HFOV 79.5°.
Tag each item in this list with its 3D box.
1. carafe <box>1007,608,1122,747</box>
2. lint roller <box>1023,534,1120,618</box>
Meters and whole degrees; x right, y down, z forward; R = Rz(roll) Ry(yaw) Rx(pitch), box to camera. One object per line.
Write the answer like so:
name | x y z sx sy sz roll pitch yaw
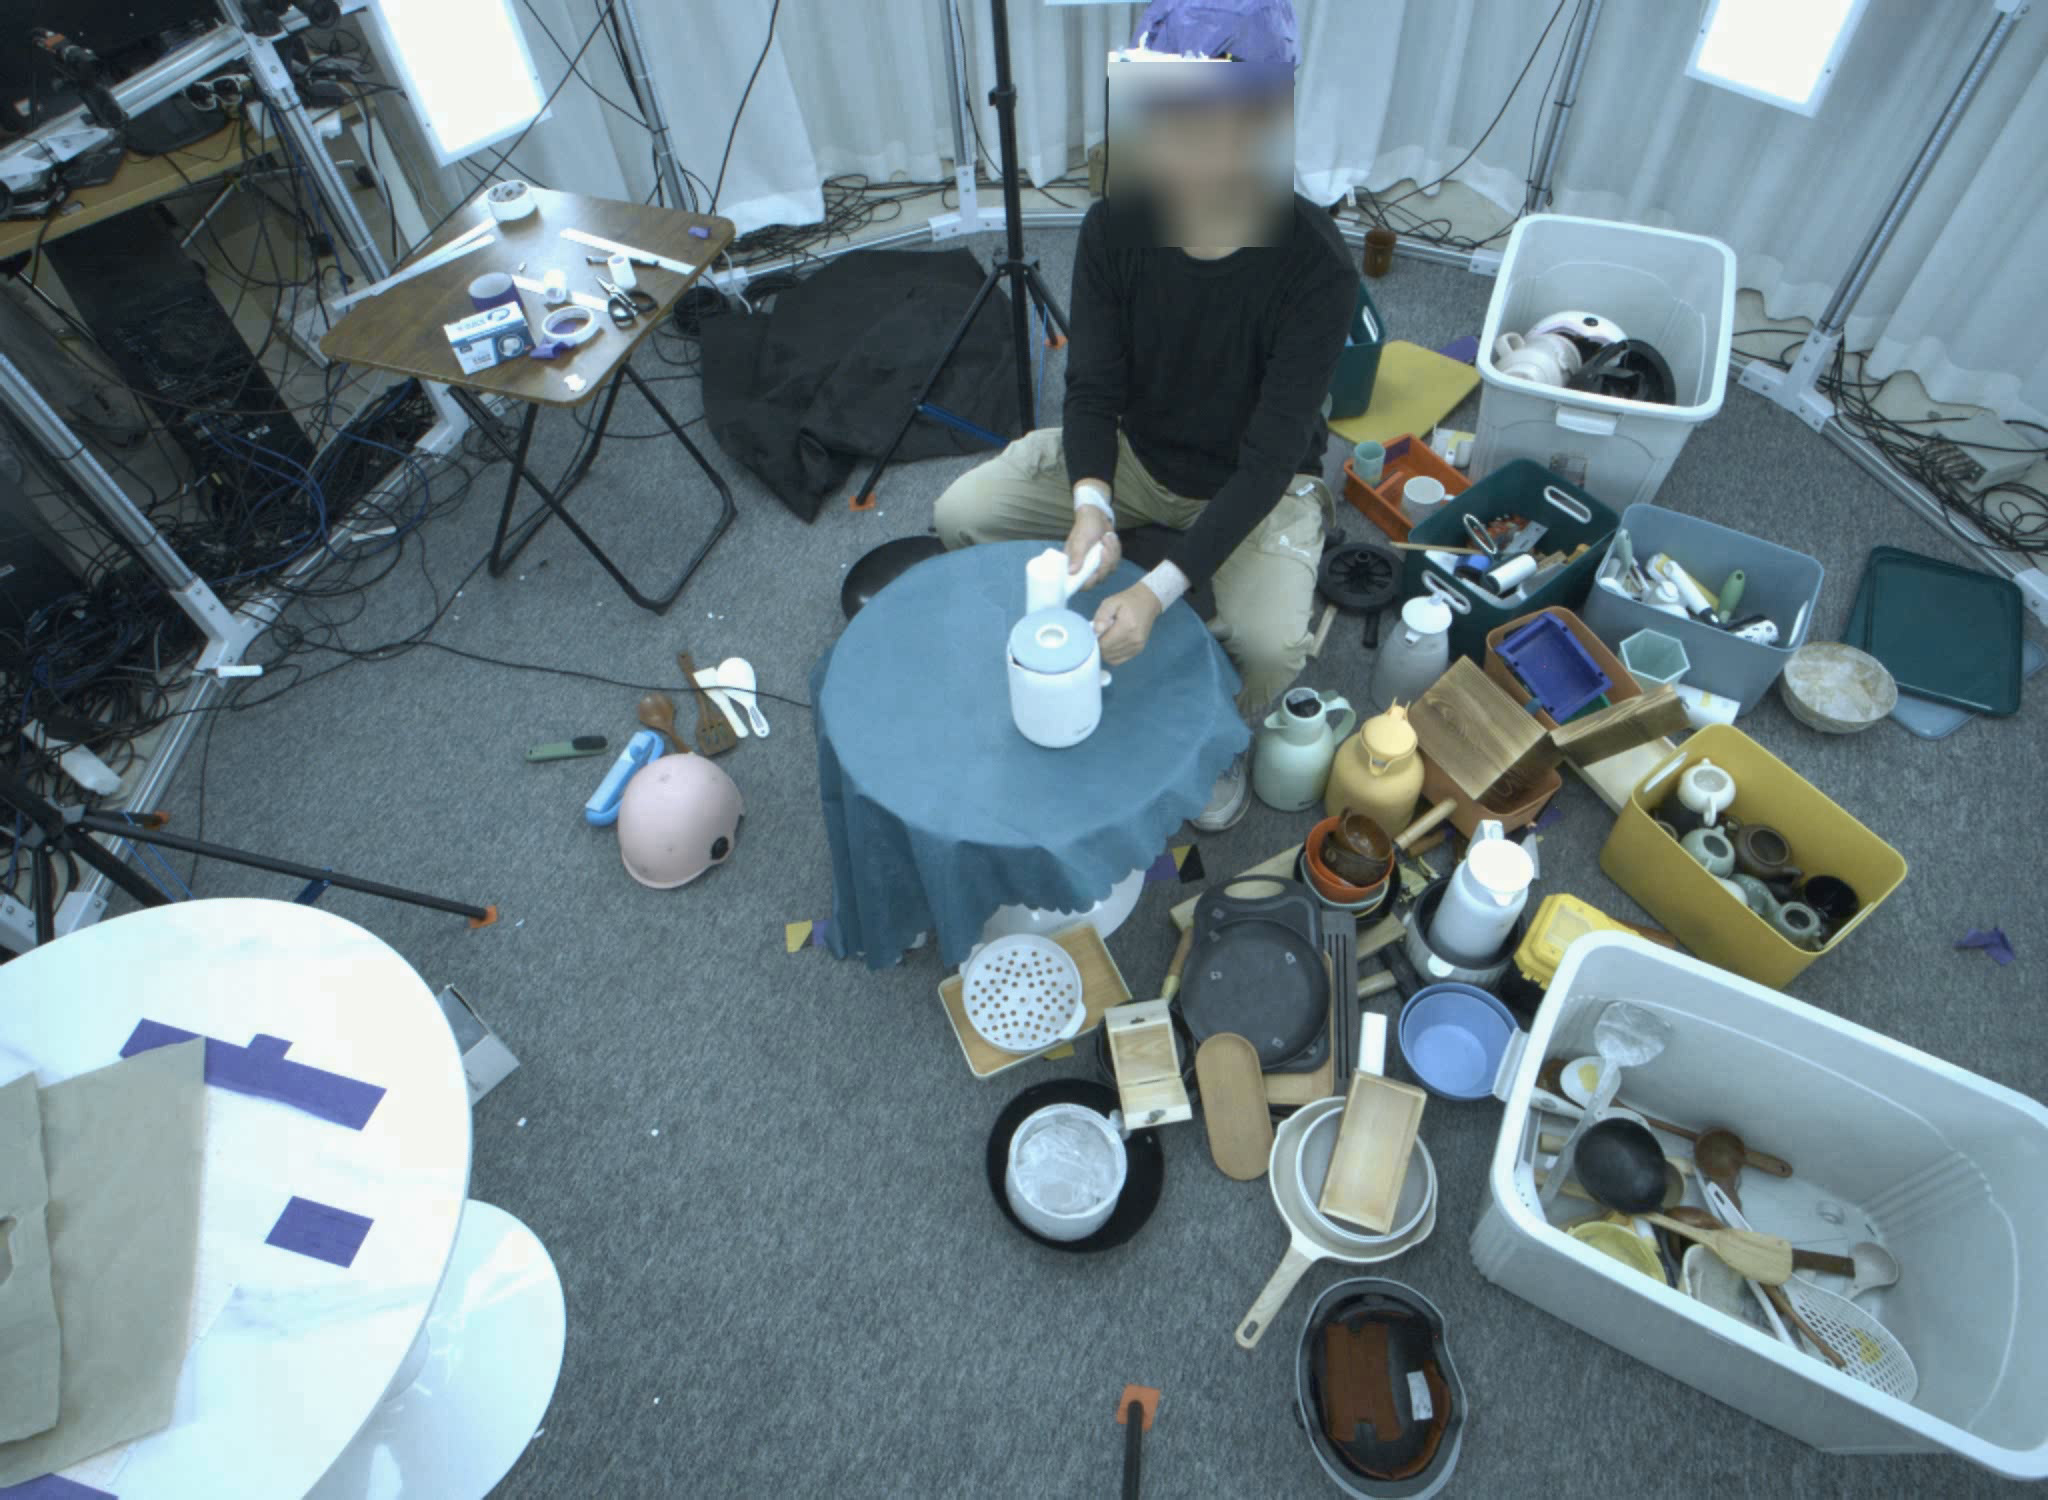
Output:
carafe | 0.064 -0.115 1.760 0.193 0.184 0.130 -31 59 -20
lint roller | 0.069 -0.254 1.819 0.047 0.205 0.226 26 56 20
